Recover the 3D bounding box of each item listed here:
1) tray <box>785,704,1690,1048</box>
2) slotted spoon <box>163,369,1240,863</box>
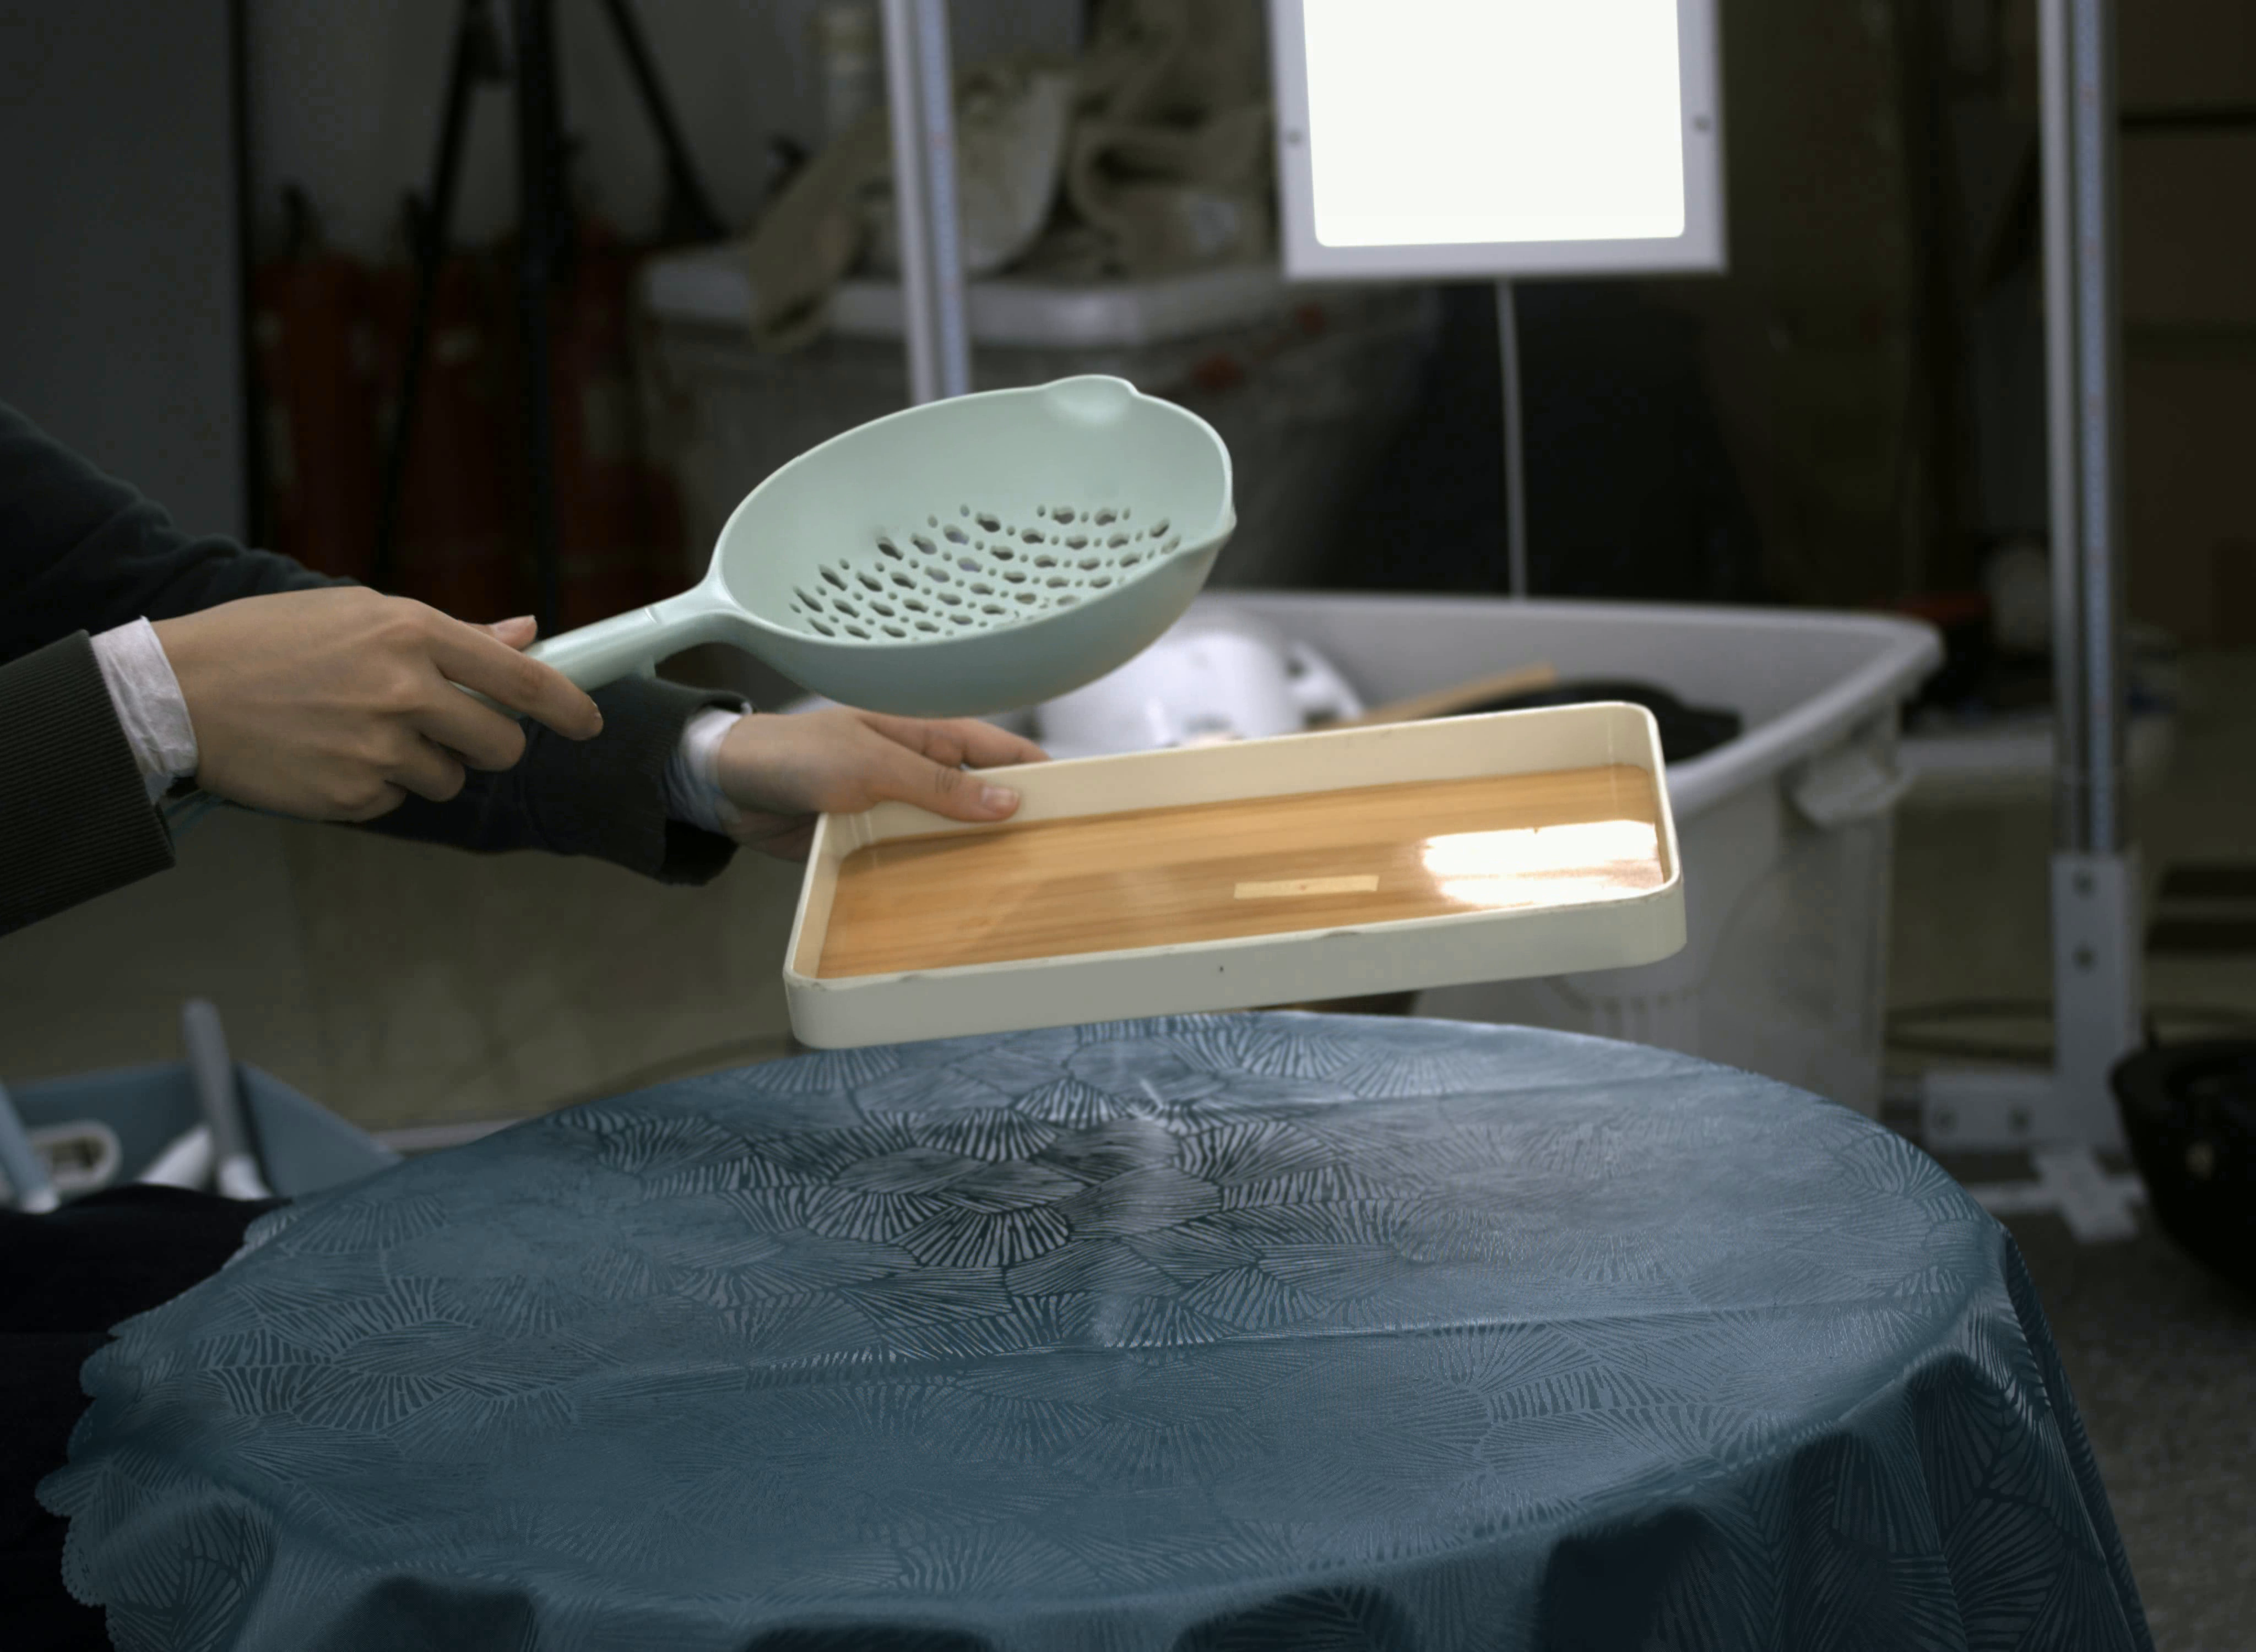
[{"bbox_3d":[0.038,0.016,1.880,0.301,0.027,0.190,-6,21,6],"label":"tray"},{"bbox_3d":[-0.137,-0.059,1.767,0.354,0.075,0.171,-13,29,-12],"label":"slotted spoon"}]
